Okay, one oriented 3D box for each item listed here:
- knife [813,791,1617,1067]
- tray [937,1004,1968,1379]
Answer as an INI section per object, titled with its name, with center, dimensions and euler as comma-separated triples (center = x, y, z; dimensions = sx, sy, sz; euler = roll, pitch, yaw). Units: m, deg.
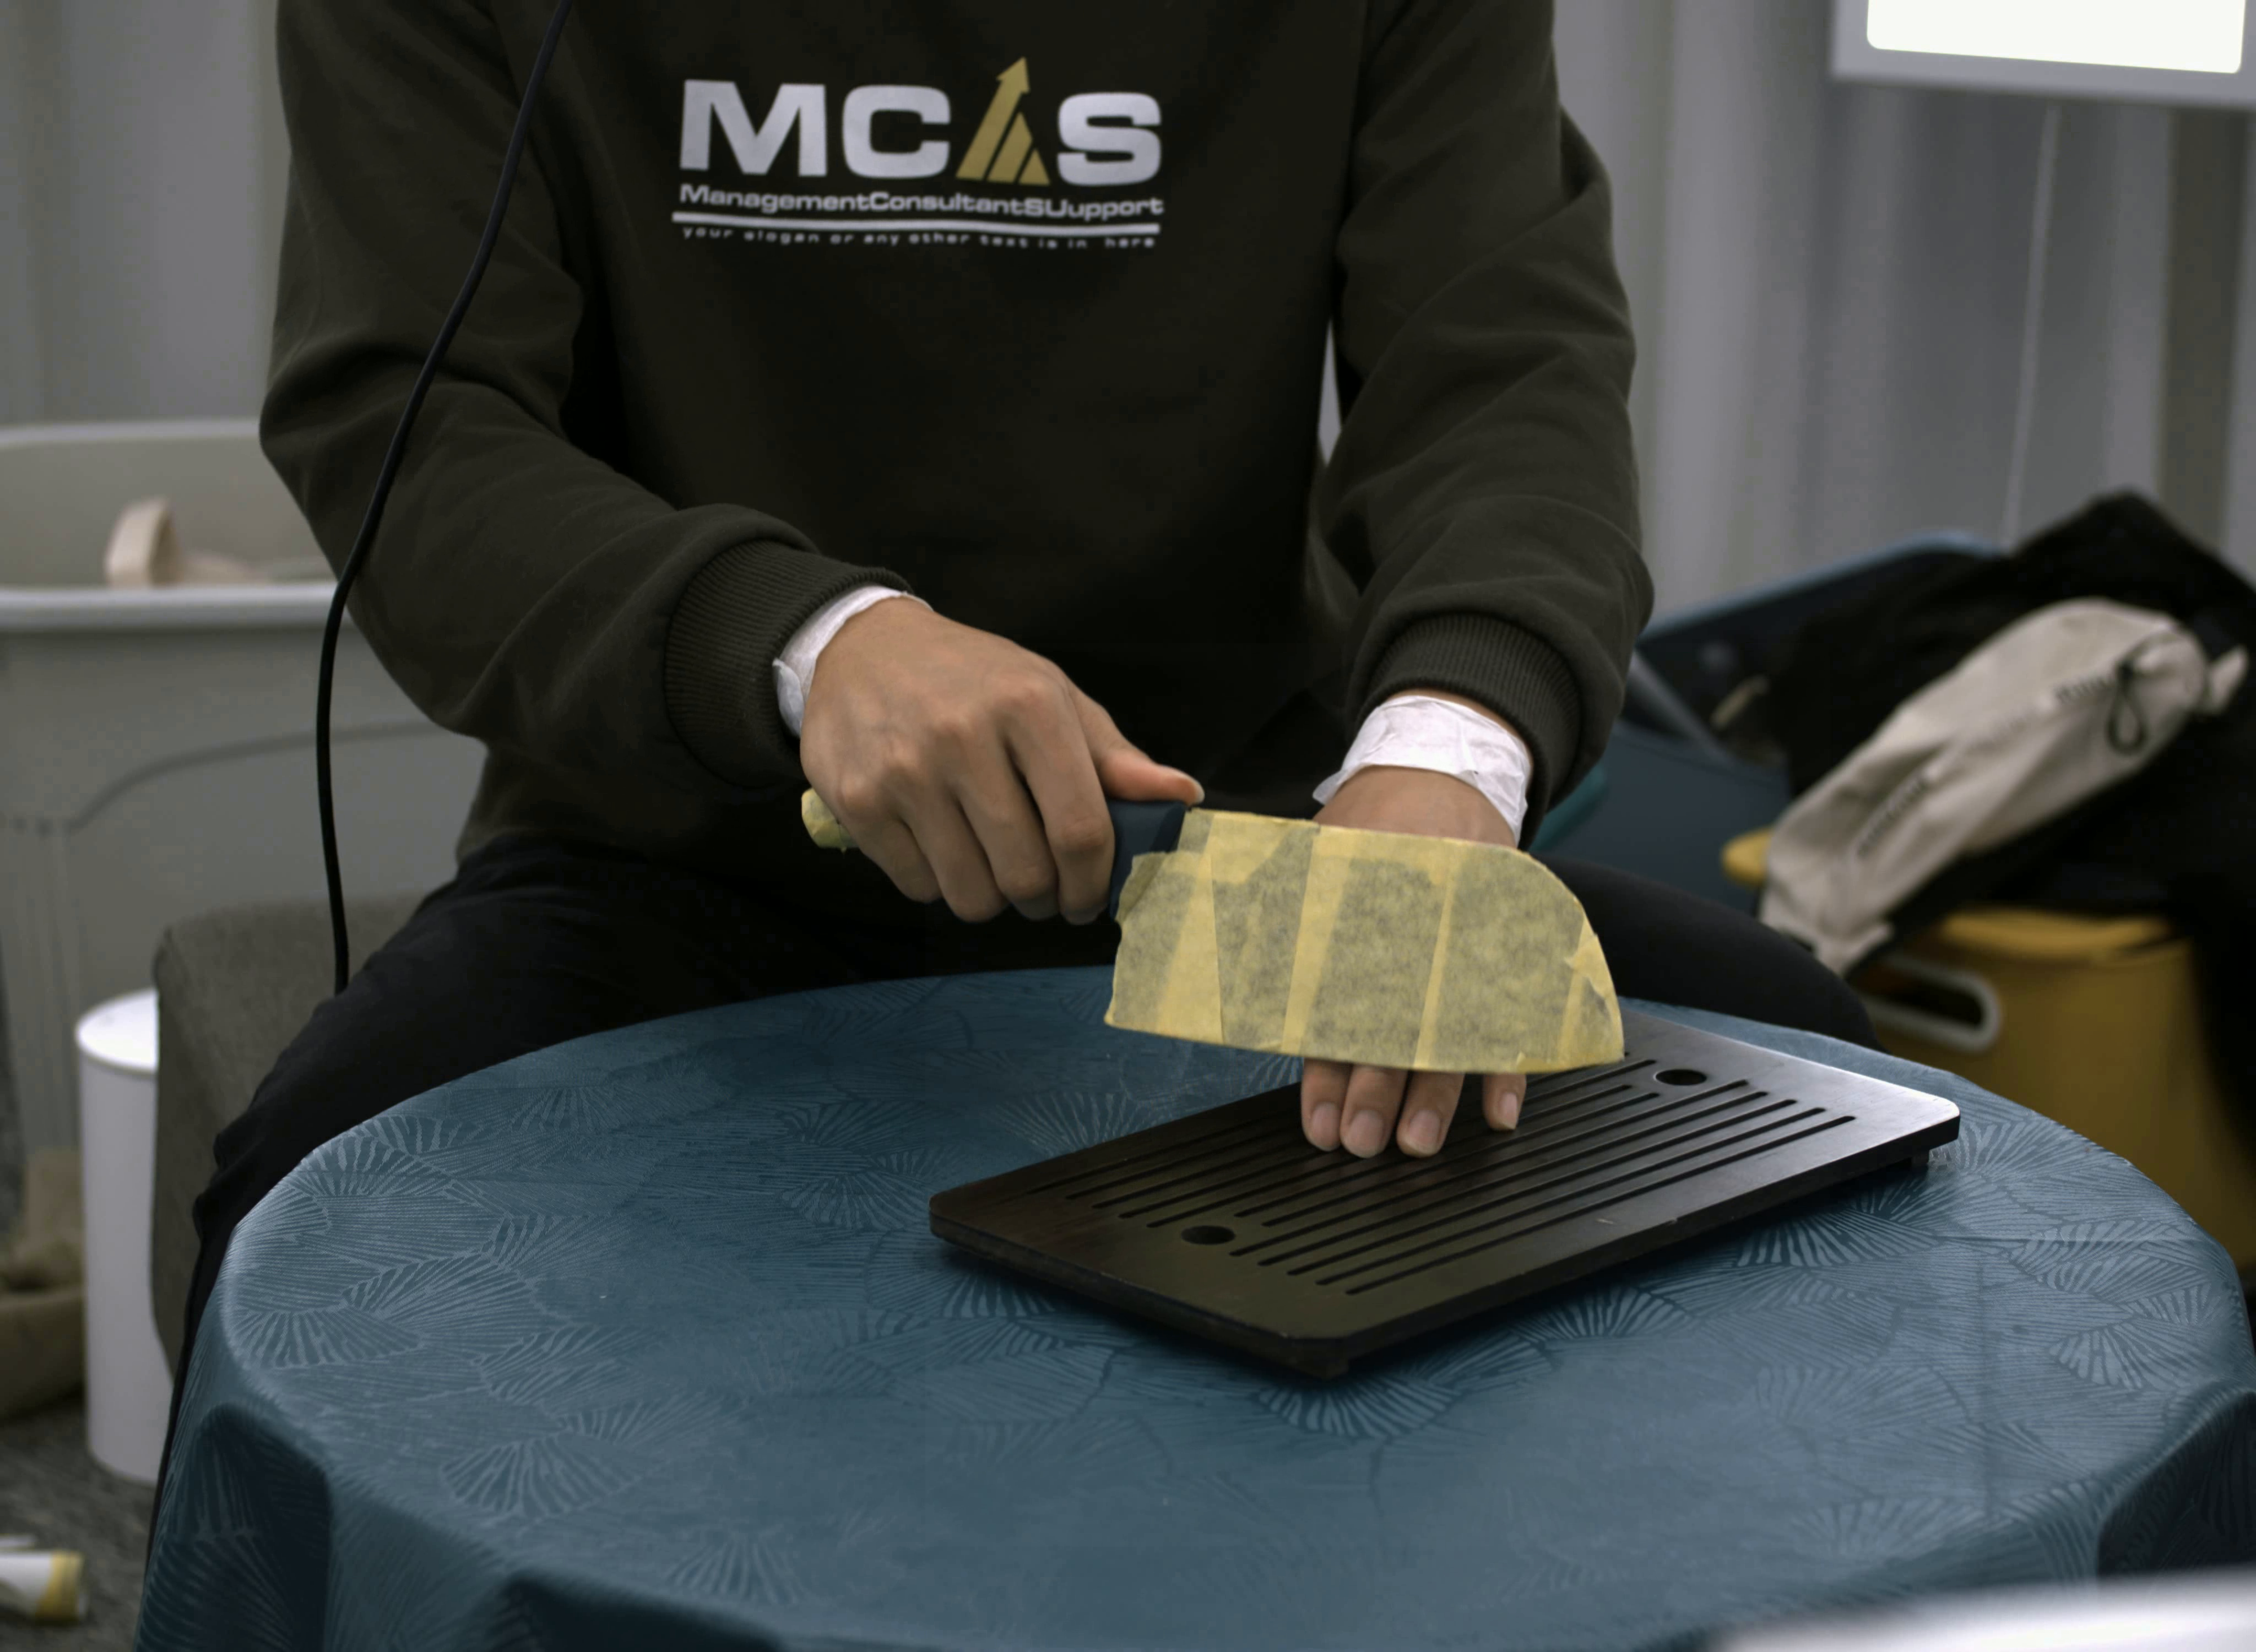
[knife]
center = 0.022, 0.030, 1.643
dimensions = 0.286, 0.081, 0.027
euler = 10, -10, 28
[tray]
center = 0.103, 0.108, 1.610
dimensions = 0.307, 0.019, 0.168
euler = -14, 20, -43
